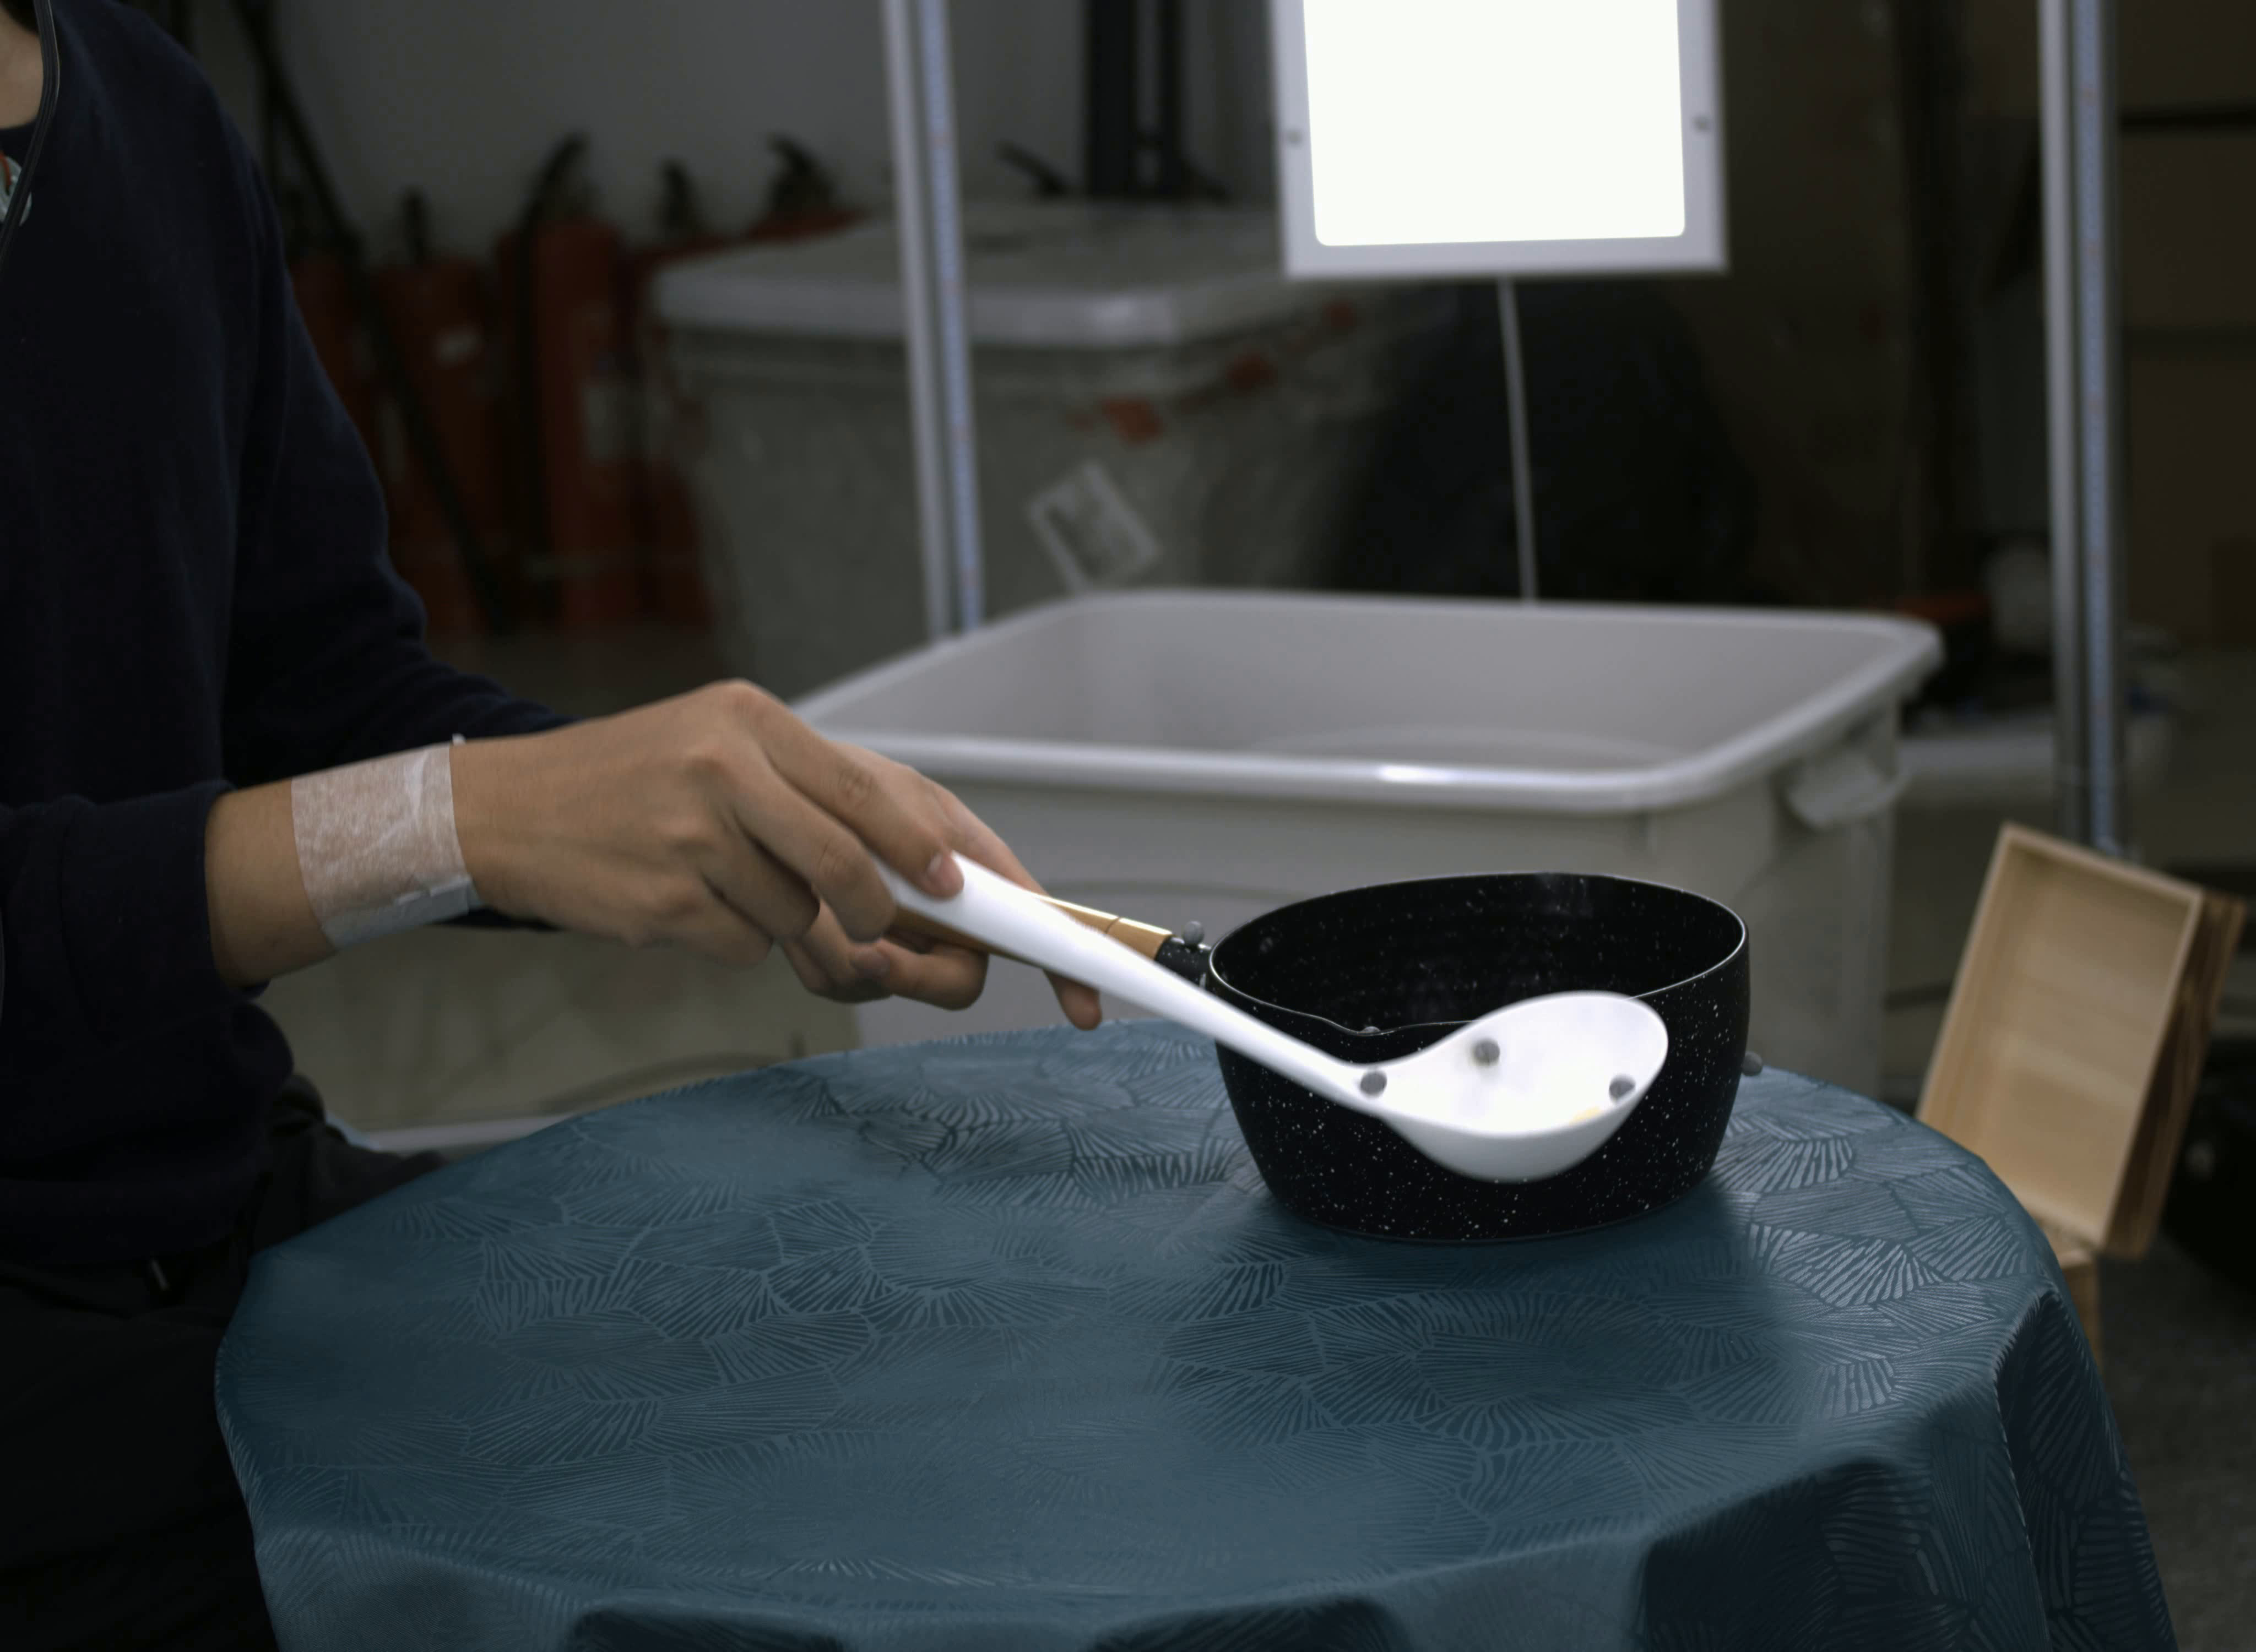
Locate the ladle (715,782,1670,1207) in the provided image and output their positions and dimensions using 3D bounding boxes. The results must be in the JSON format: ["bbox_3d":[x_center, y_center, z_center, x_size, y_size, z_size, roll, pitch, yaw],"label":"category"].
[{"bbox_3d":[0.019,0.043,1.685,0.292,0.071,0.089,23,36,-1],"label":"ladle"}]

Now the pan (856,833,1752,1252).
[{"bbox_3d":[0.049,0.065,1.901,0.348,0.108,0.203,3,17,26],"label":"pan"}]
